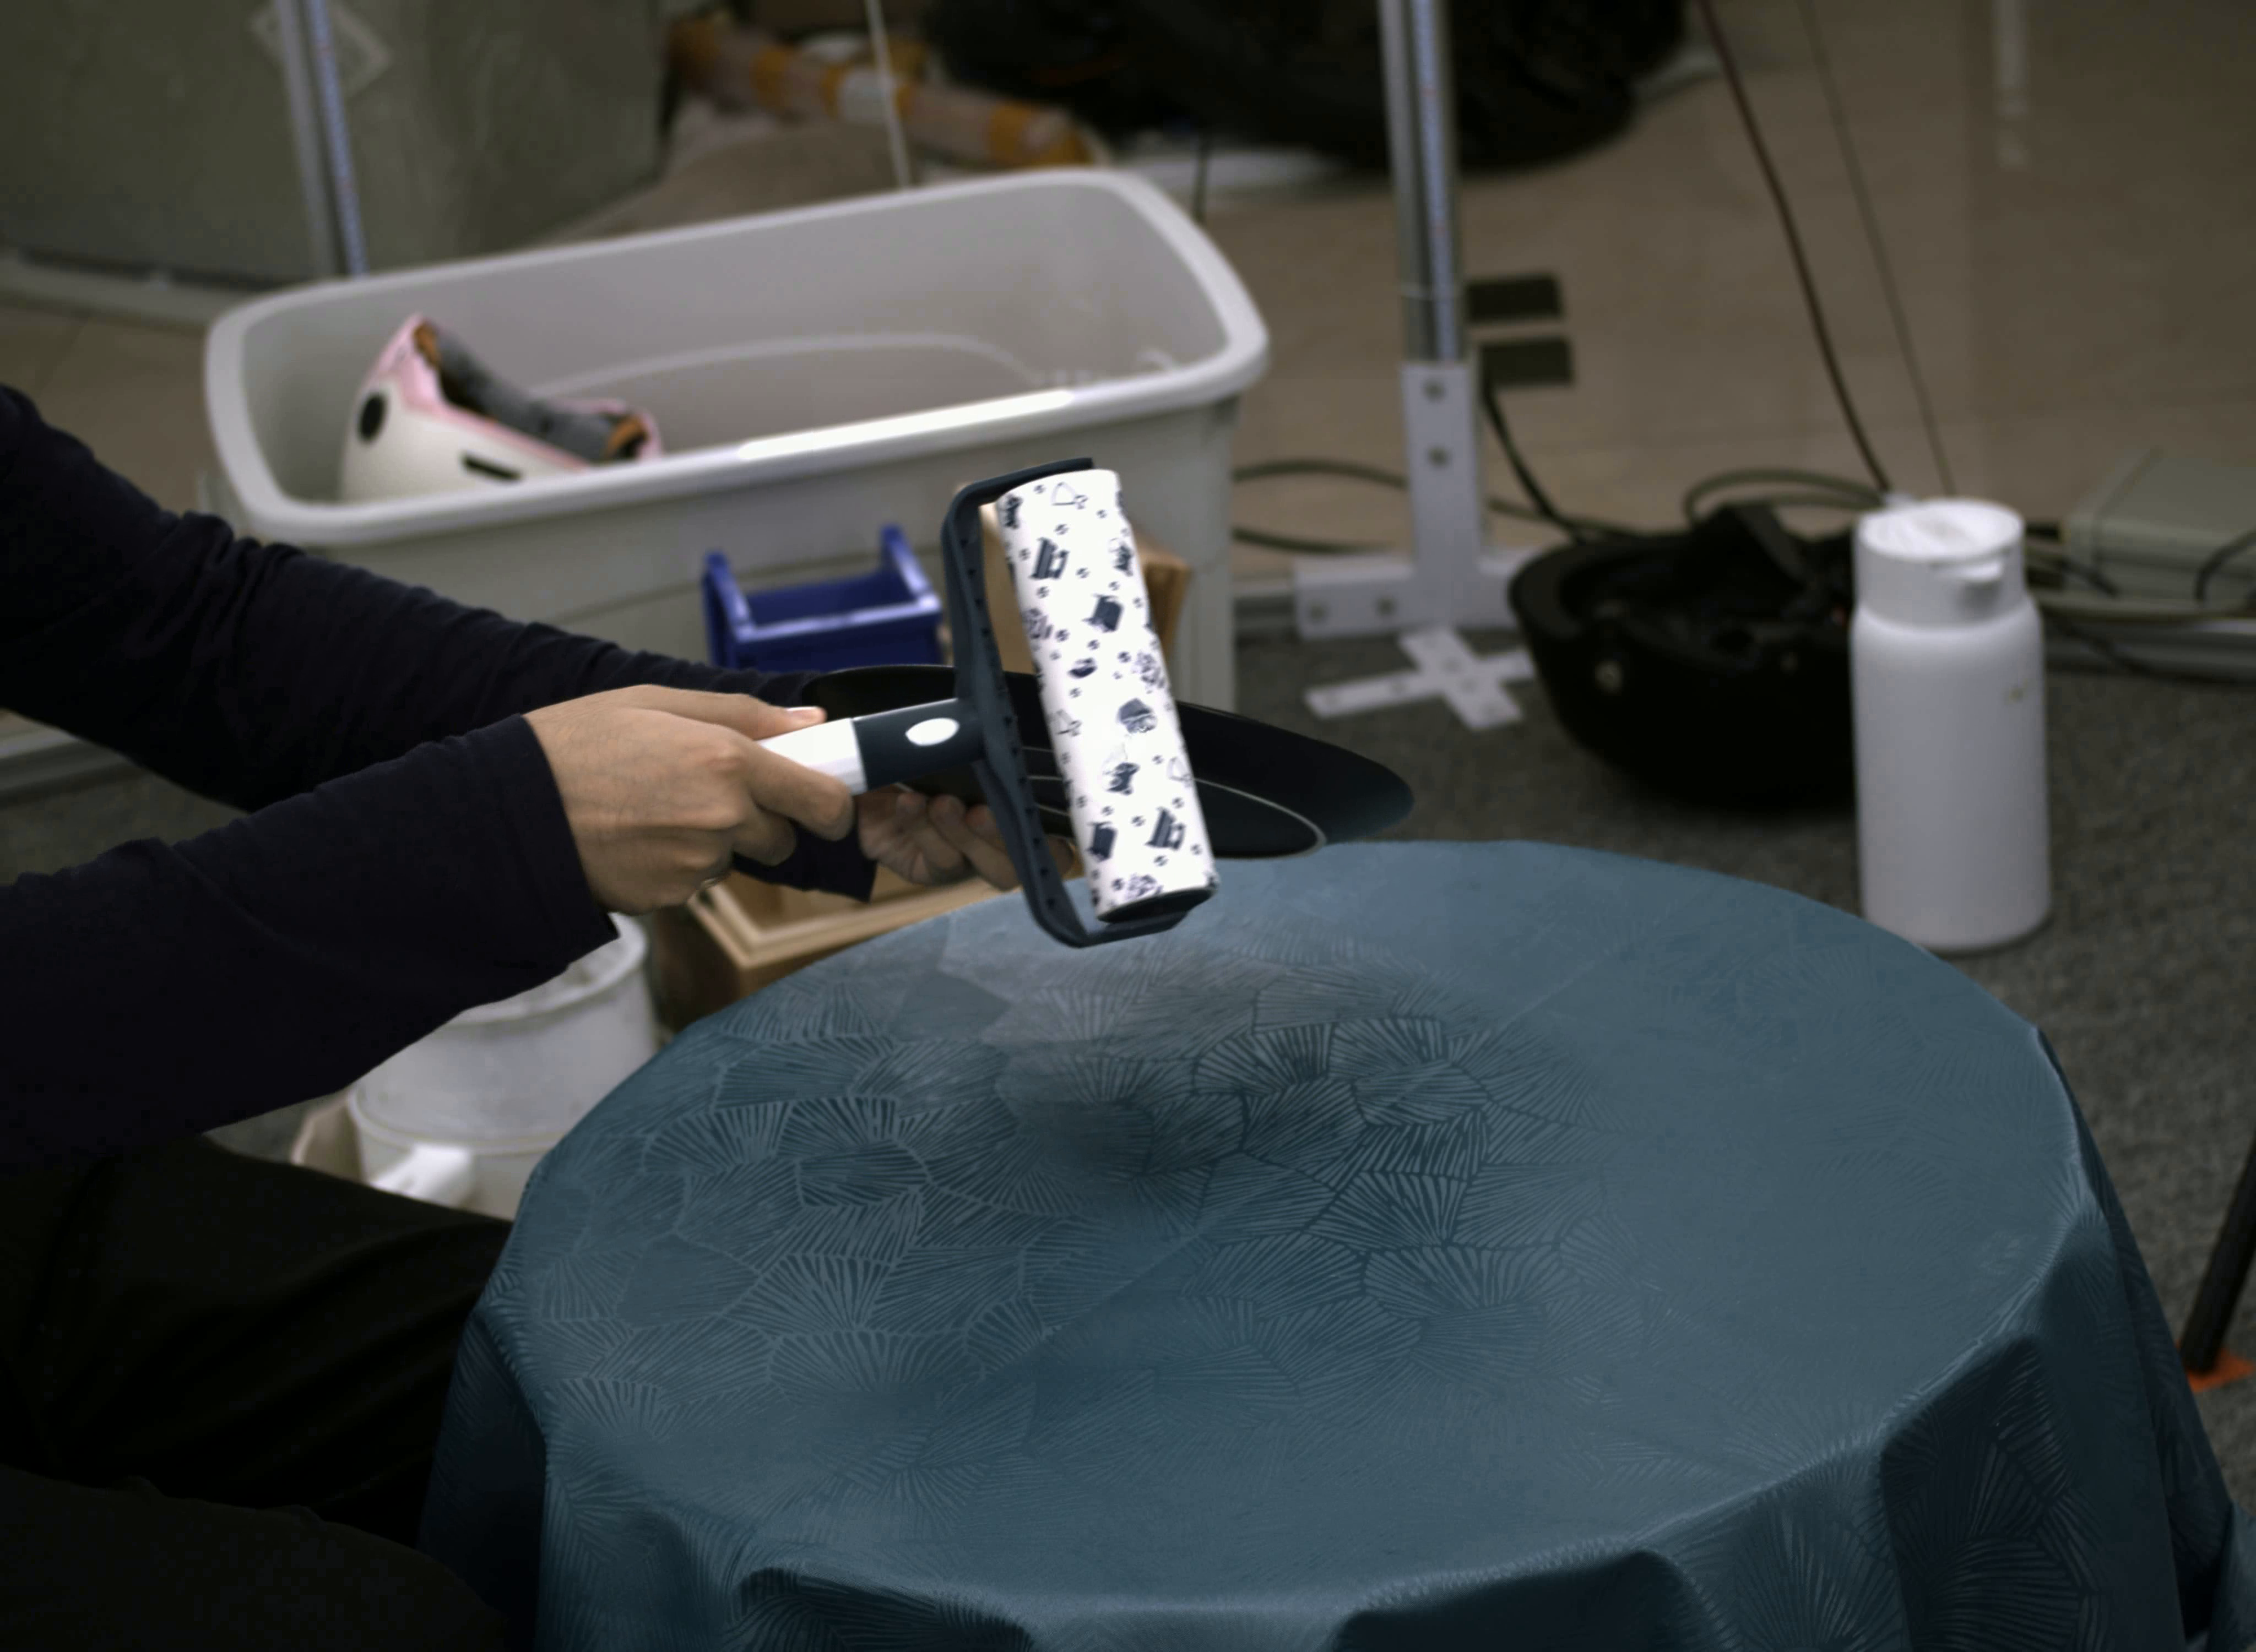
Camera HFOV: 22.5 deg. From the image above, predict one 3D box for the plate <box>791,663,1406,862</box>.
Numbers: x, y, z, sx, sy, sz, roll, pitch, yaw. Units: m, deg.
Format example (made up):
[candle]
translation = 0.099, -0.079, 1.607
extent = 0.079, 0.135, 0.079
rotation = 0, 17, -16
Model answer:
[plate]
translation = -0.013, -0.019, 2.198
extent = 0.244, 0.023, 0.246
rotation = 10, -10, 2

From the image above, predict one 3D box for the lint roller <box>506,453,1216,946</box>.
[lint roller]
translation = -0.105, -0.024, 2.048
extent = 0.246, 0.175, 0.050
rotation = -14, -8, -3
